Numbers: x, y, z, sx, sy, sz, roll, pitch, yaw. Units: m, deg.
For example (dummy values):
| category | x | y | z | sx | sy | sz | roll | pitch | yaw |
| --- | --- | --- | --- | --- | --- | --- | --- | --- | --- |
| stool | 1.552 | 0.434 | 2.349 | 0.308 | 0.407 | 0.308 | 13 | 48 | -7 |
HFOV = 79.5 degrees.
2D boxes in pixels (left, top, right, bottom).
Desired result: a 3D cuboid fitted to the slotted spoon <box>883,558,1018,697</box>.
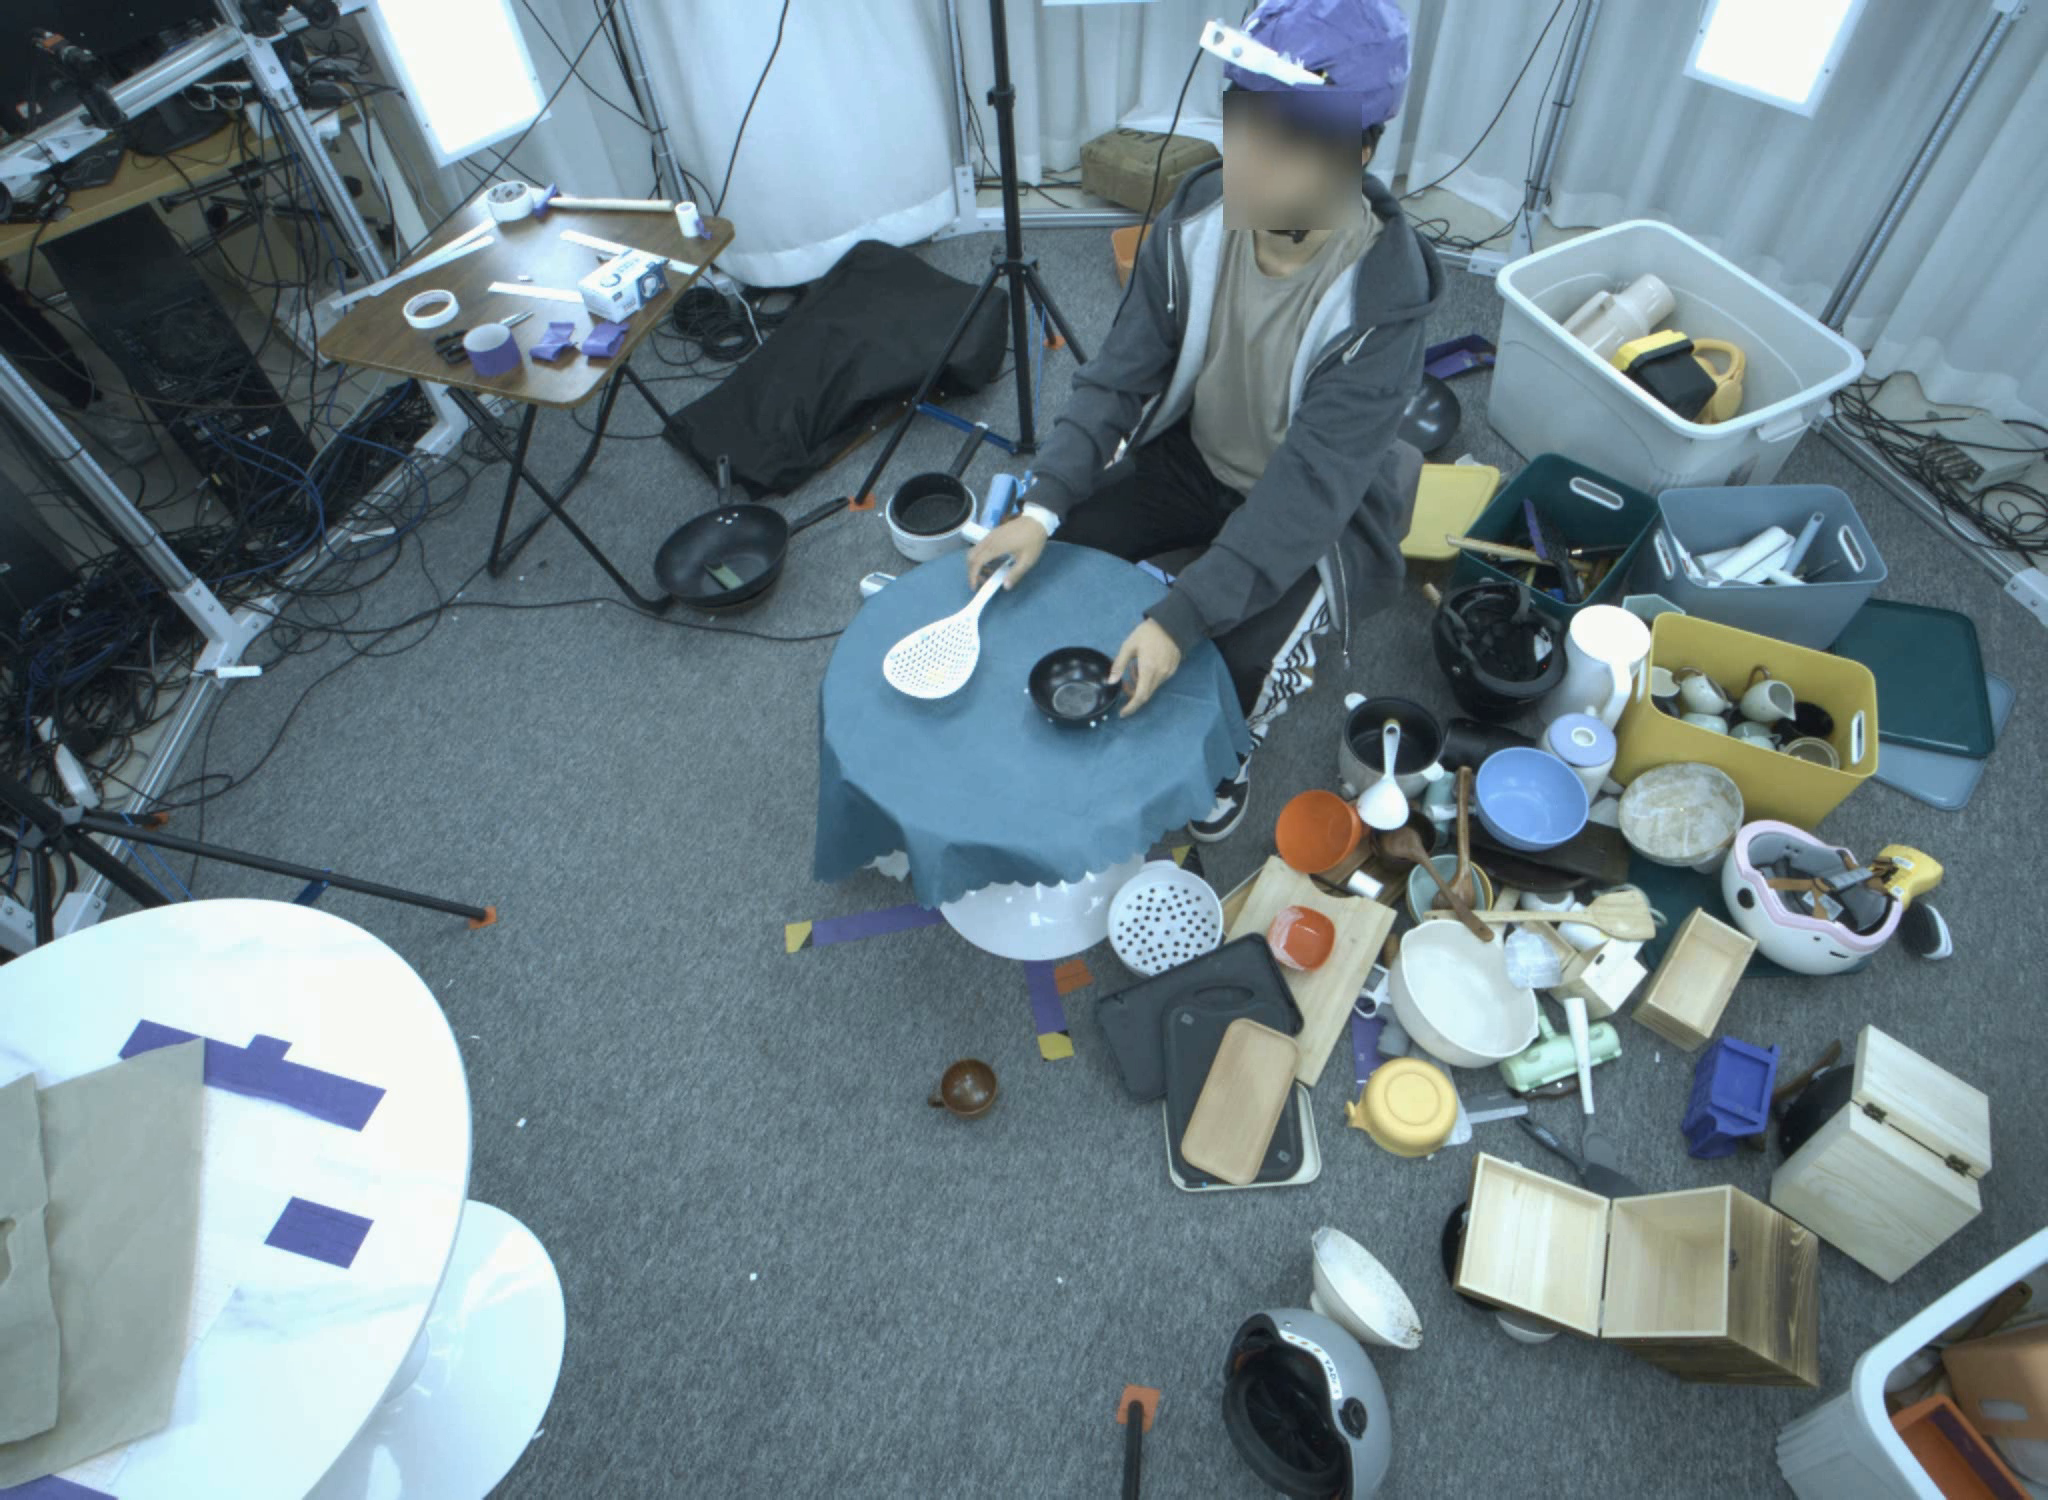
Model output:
| category | x | y | z | sx | sy | sz | roll | pitch | yaw |
| --- | --- | --- | --- | --- | --- | --- | --- | --- | --- |
| slotted spoon | -0.089 | -0.199 | 1.910 | 0.135 | 0.051 | 0.348 | 20 | 57 | 19 |

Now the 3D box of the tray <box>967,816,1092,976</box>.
| category | x | y | z | sx | sy | sz | roll | pitch | yaw |
| --- | --- | --- | --- | --- | --- | --- | --- | --- | --- |
| tray | 0.007 | 0.266 | 2.278 | 0.192 | 0.028 | 0.296 | -9 | 56 | -4 |
